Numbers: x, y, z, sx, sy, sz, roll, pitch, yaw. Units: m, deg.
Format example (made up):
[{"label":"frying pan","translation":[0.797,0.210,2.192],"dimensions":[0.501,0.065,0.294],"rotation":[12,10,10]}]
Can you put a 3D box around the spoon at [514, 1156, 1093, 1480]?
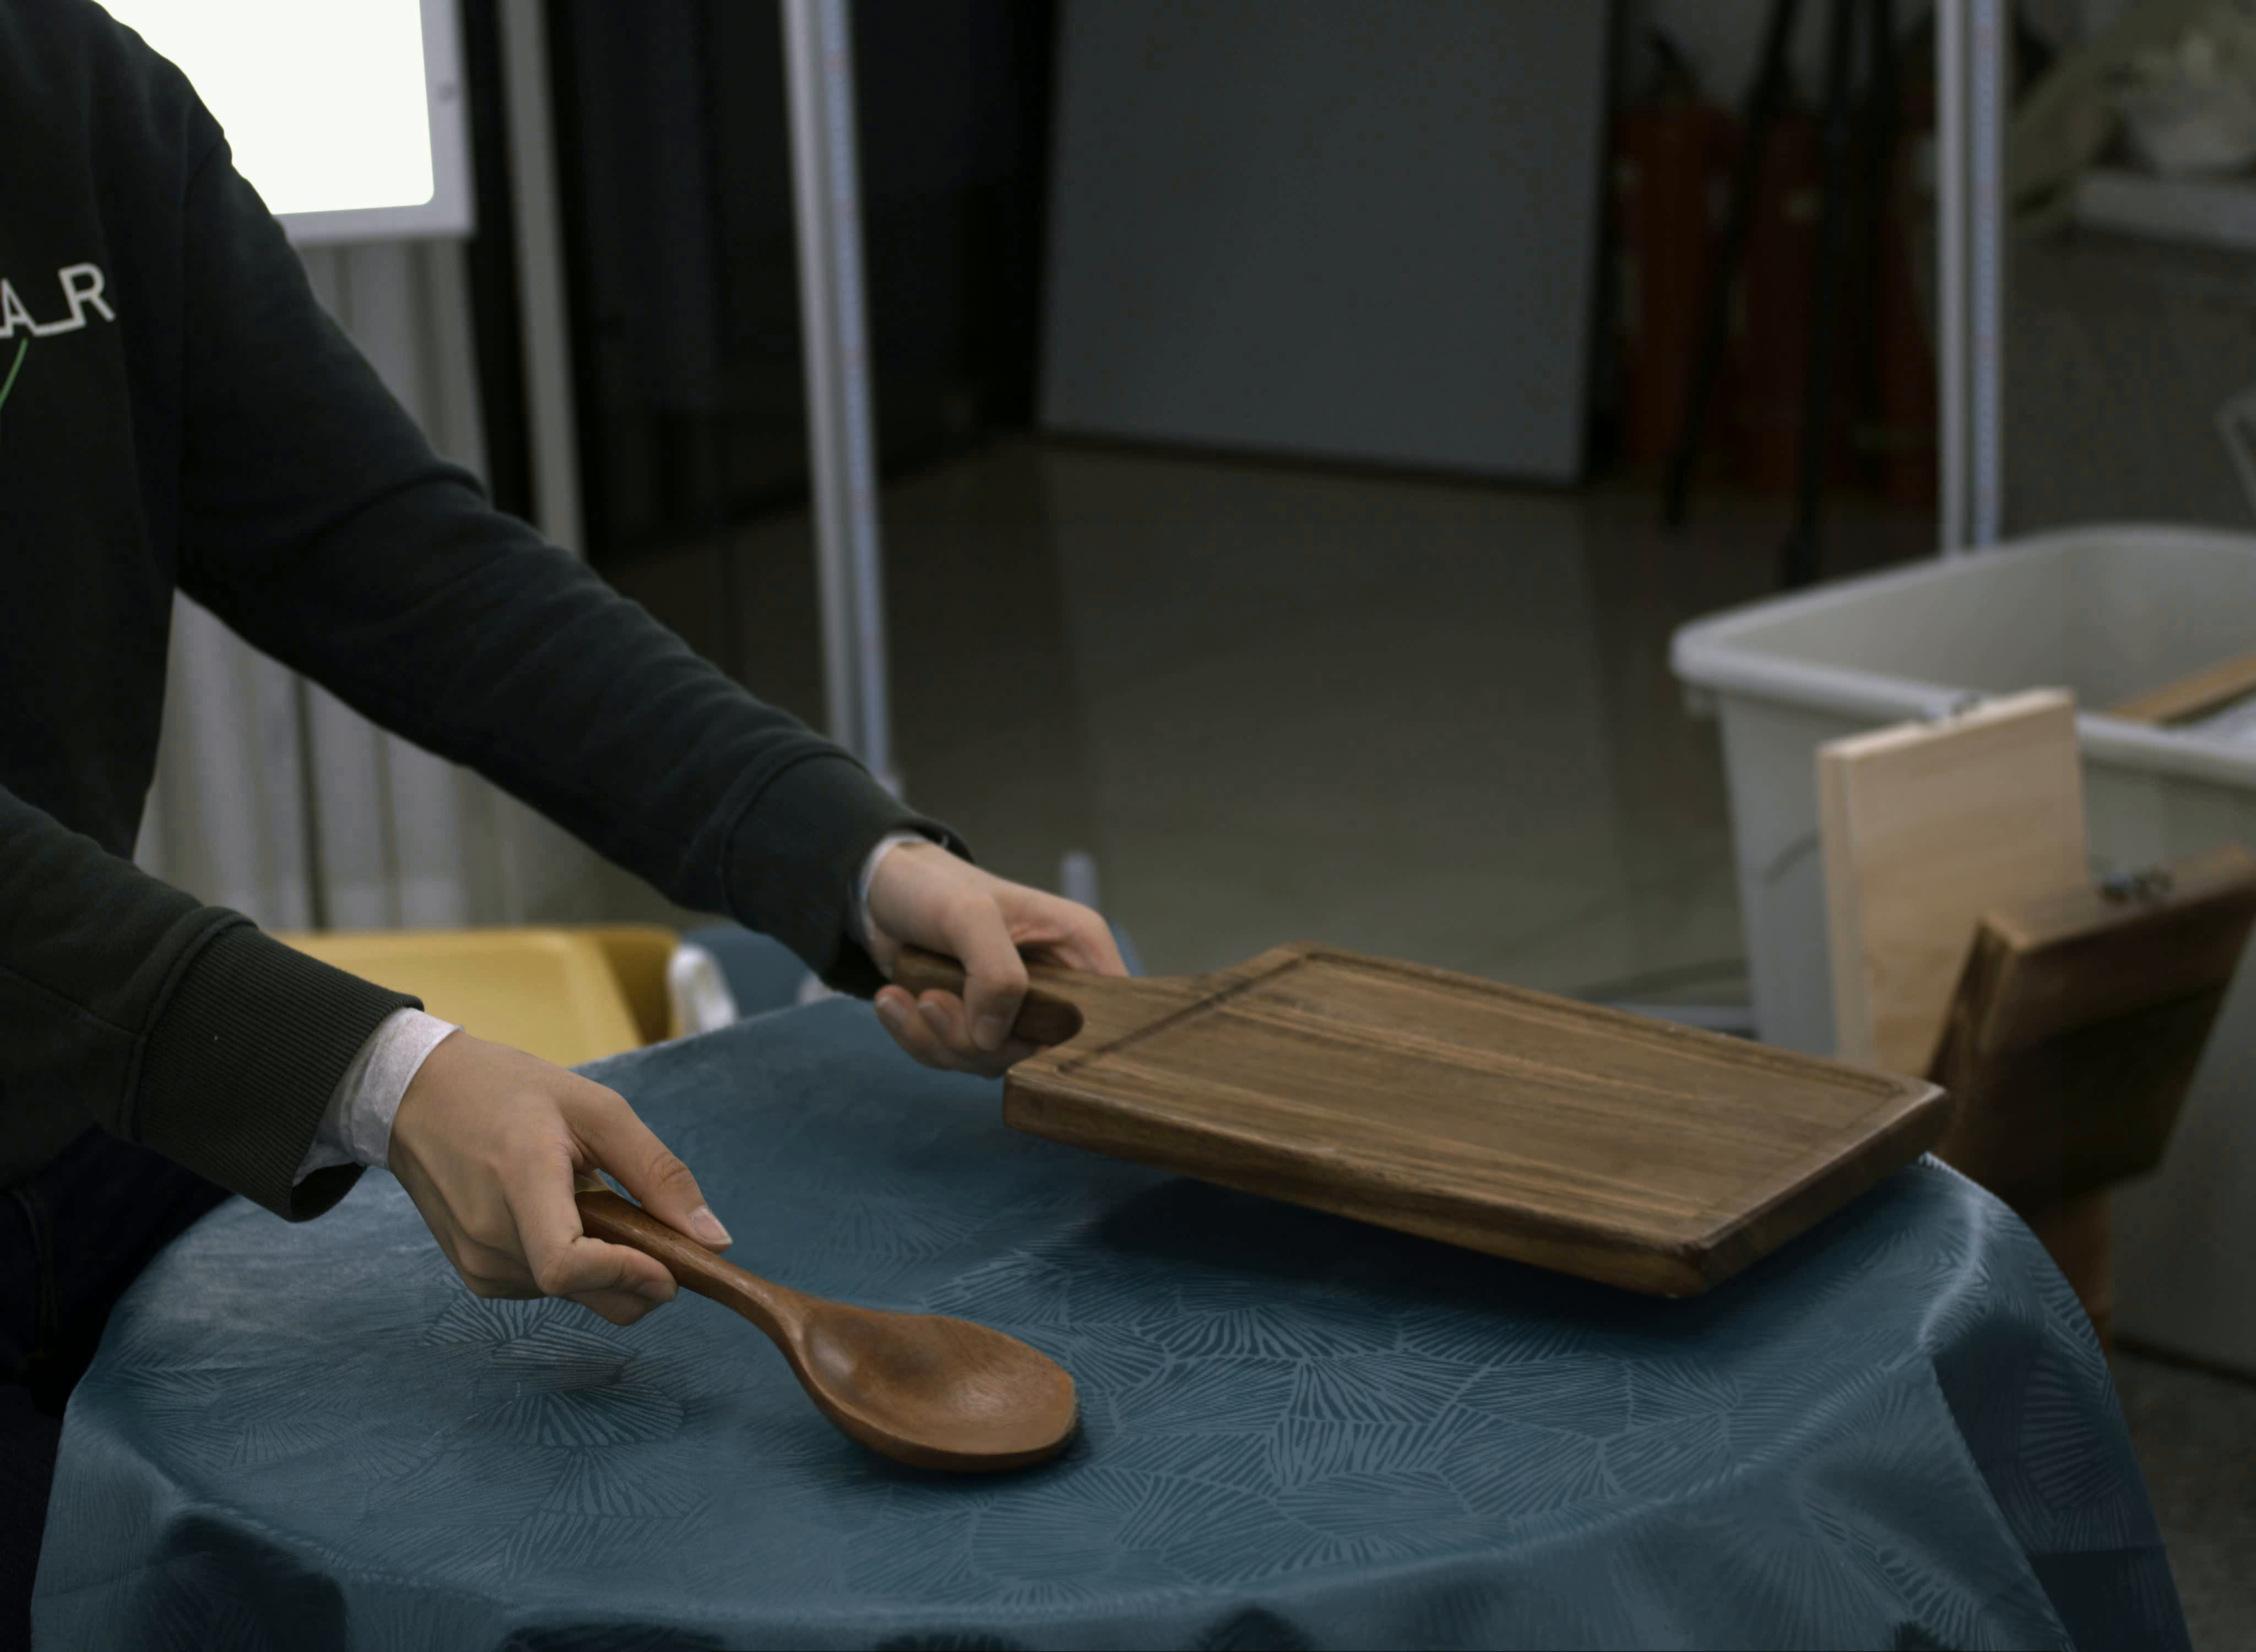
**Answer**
[{"label":"spoon","translation":[-0.100,0.144,1.589],"dimensions":[0.217,0.017,0.074],"rotation":[25,31,34]}]

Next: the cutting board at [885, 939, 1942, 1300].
[{"label":"cutting board","translation":[0.070,0.081,1.750],"dimensions":[0.354,0.023,0.198],"rotation":[12,19,31]}]
